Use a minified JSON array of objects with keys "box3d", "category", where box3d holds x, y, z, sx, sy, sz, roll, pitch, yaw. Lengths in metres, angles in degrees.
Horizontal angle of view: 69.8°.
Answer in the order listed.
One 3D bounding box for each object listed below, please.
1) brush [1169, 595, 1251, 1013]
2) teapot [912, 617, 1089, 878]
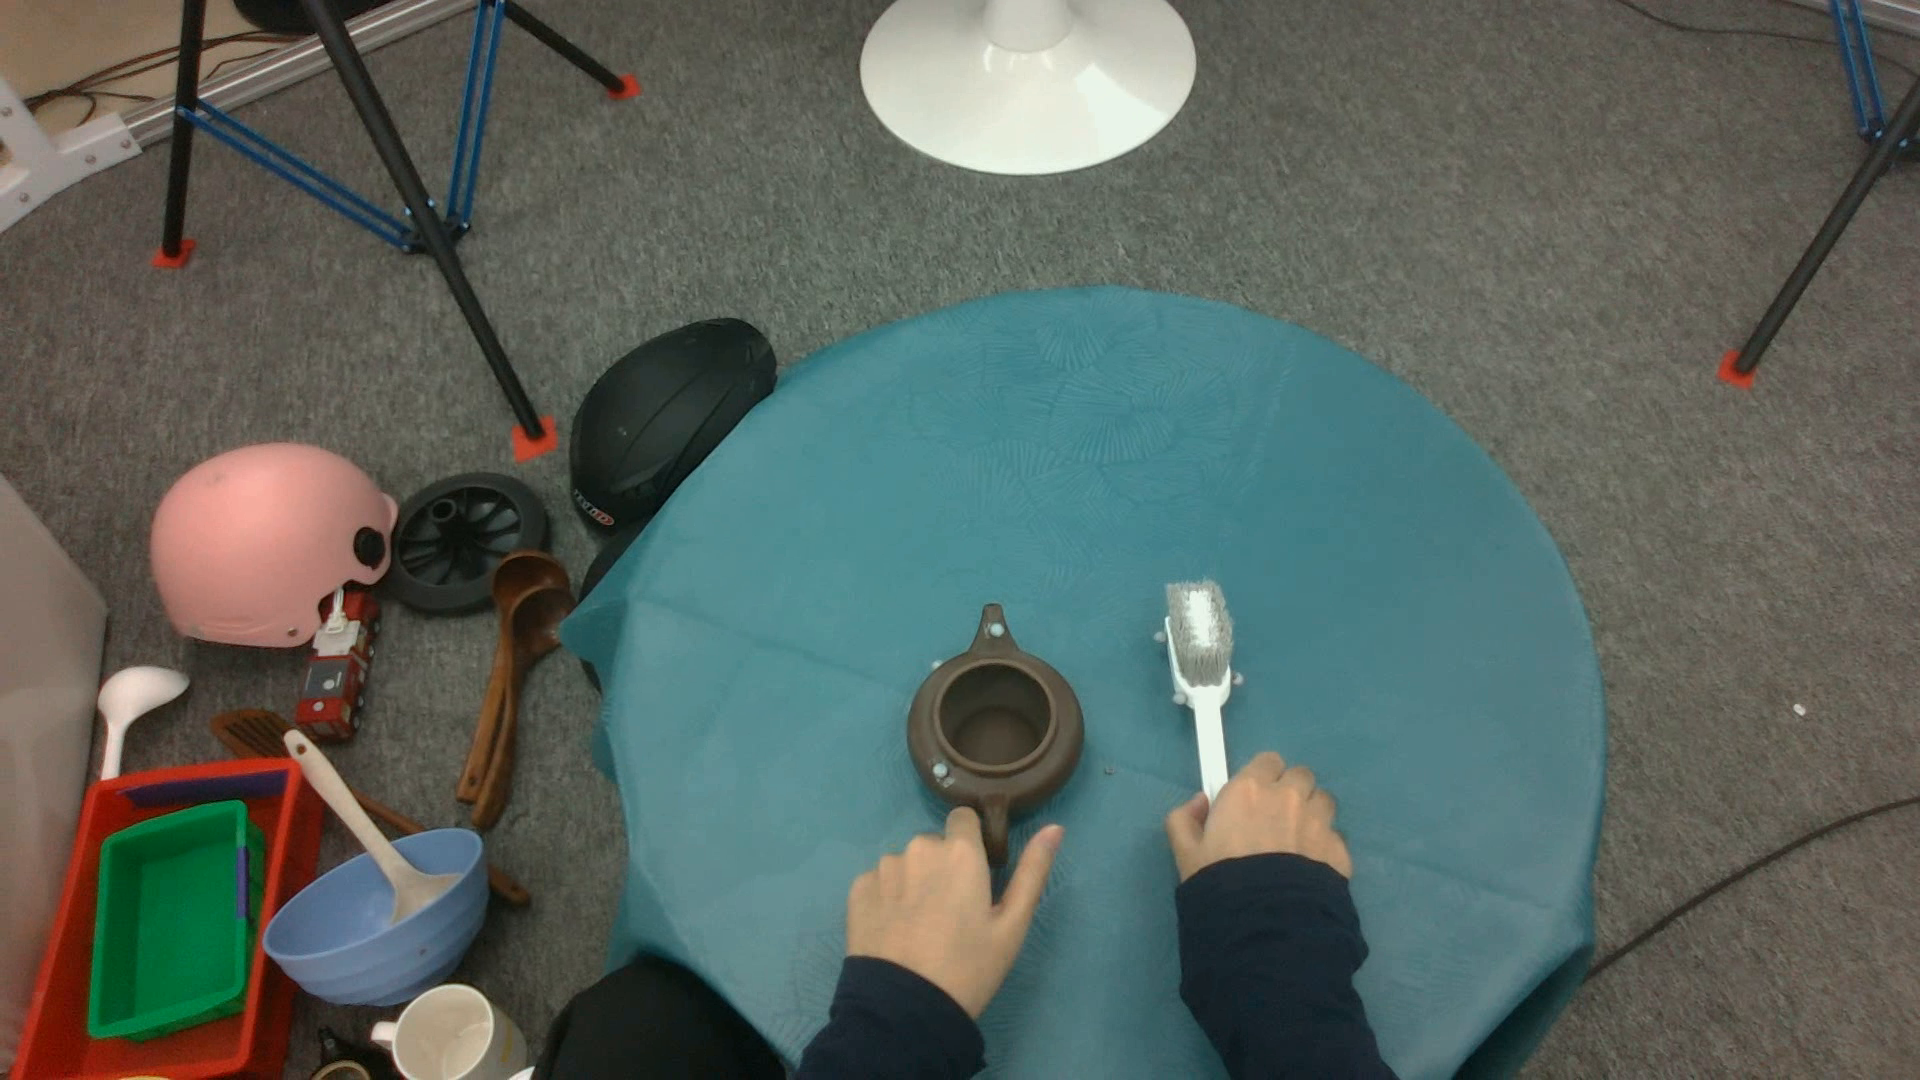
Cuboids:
[{"box3d":[0.144,0.138,0.780,0.034,0.050,0.245,1,56,0],"category":"brush"},{"box3d":[0.024,0.121,0.796,0.102,0.053,0.154,-7,55,-1],"category":"teapot"}]
